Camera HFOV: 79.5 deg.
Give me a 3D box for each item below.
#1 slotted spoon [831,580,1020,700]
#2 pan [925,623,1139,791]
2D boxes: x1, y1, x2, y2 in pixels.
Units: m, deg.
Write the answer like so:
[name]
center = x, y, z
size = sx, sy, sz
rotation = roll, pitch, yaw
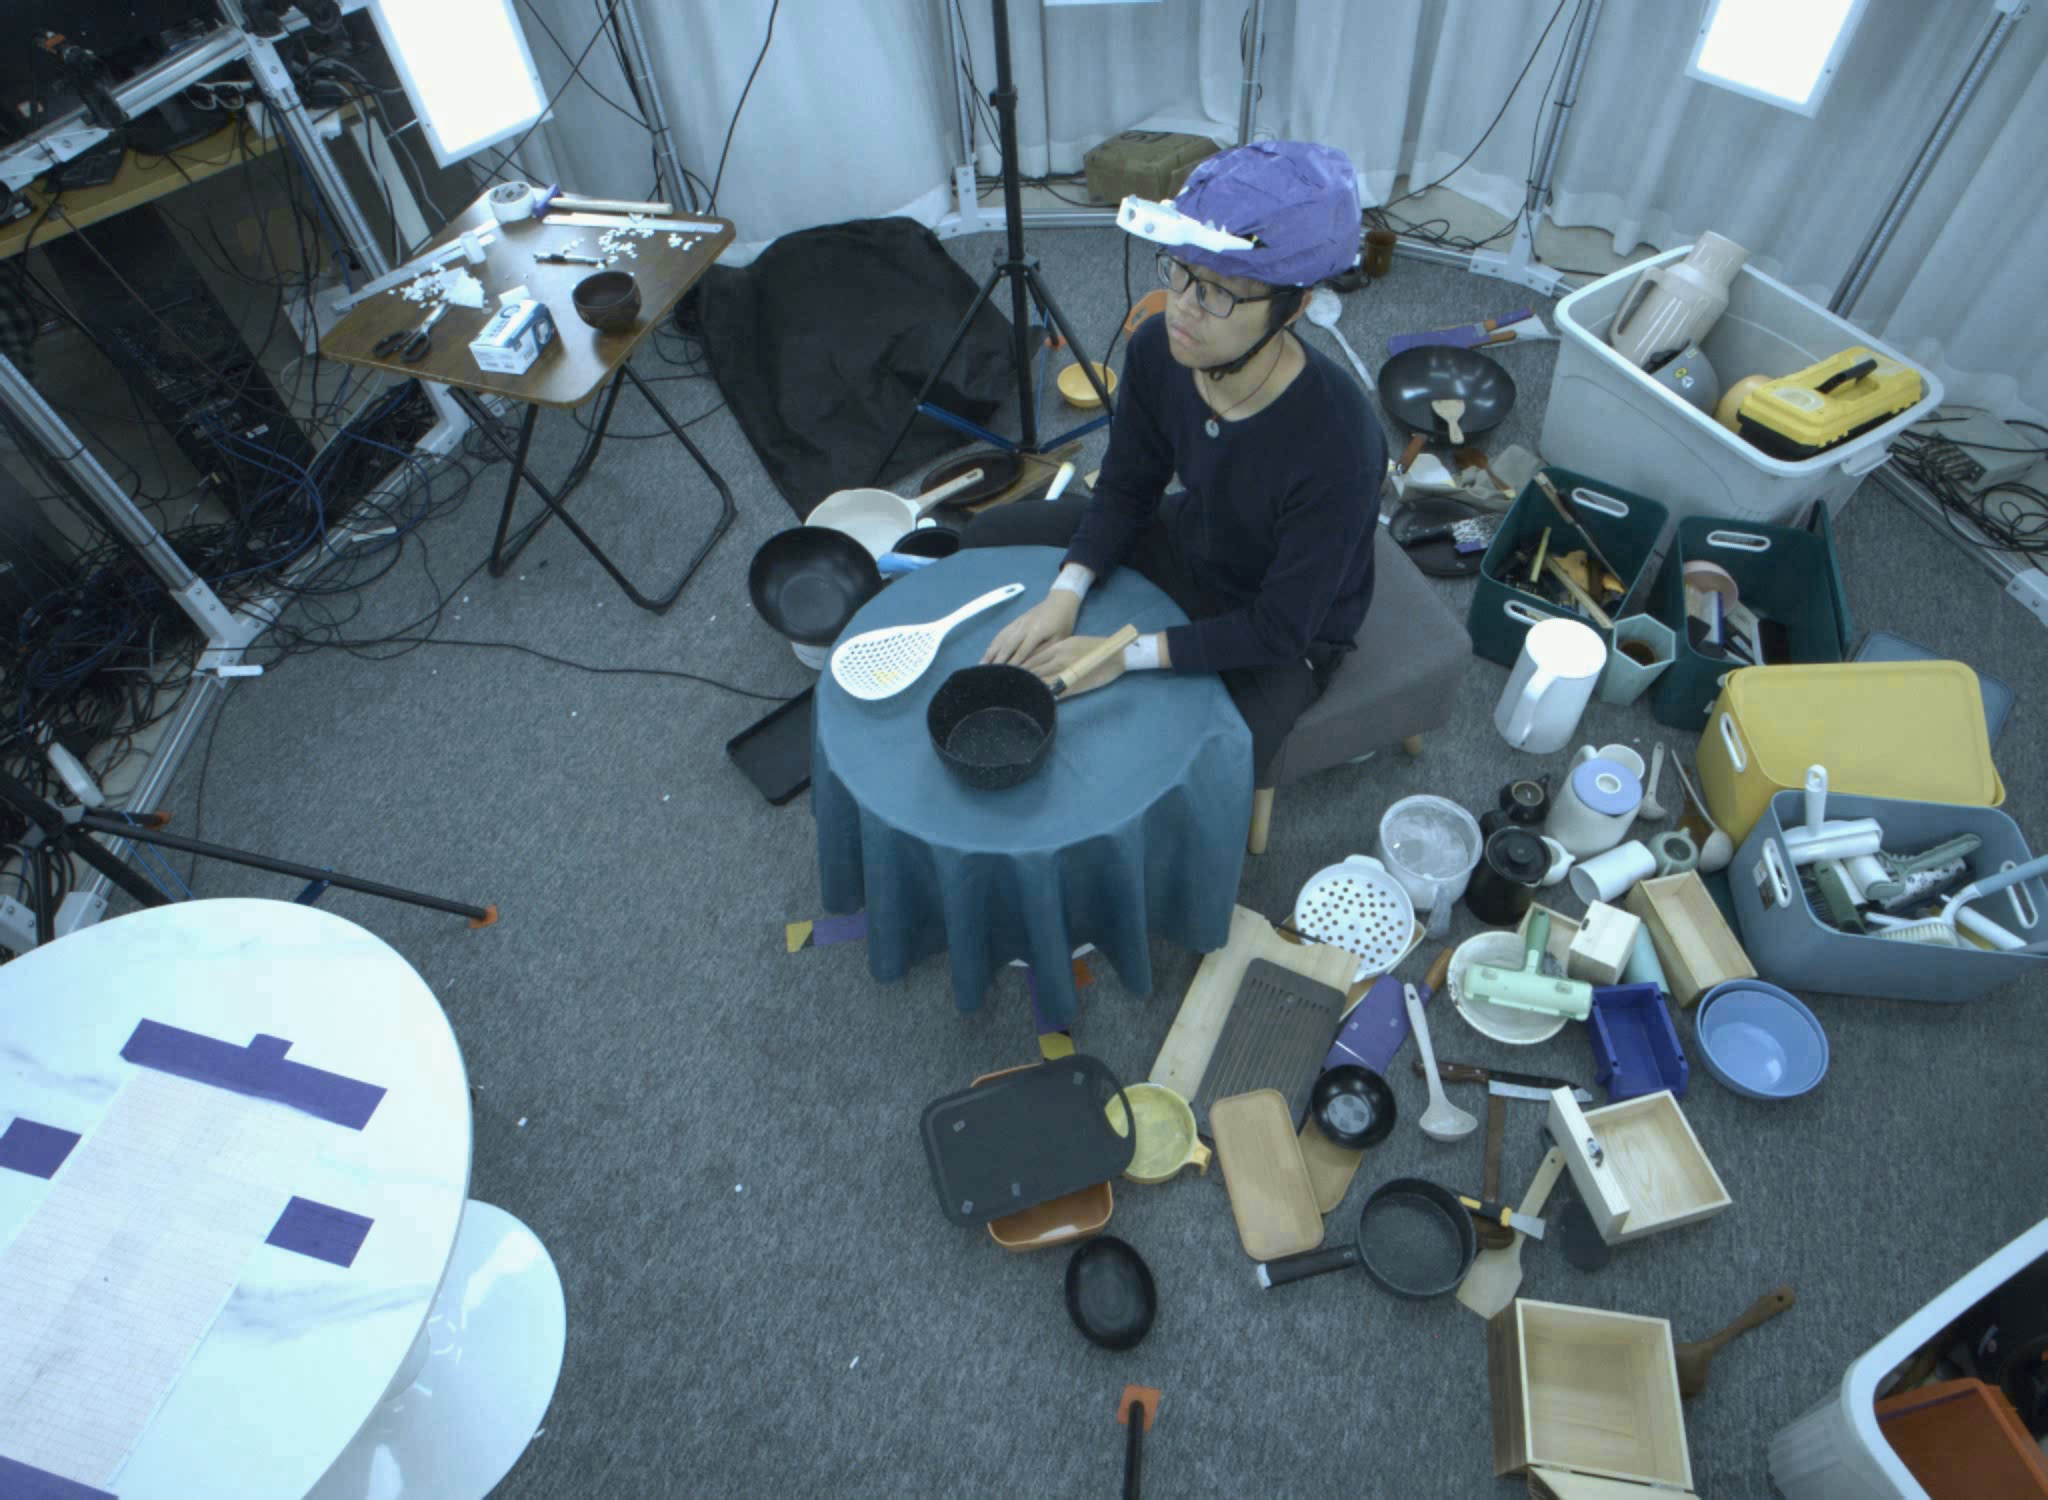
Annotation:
[slotted spoon]
center = -0.138, -0.181, 1.894
size = 0.350, 0.051, 0.134
rotation = -37, 60, -20
[pan]
center = 0.021, -0.072, 1.771
size = 0.345, 0.109, 0.203
rotation = -31, 58, -17
